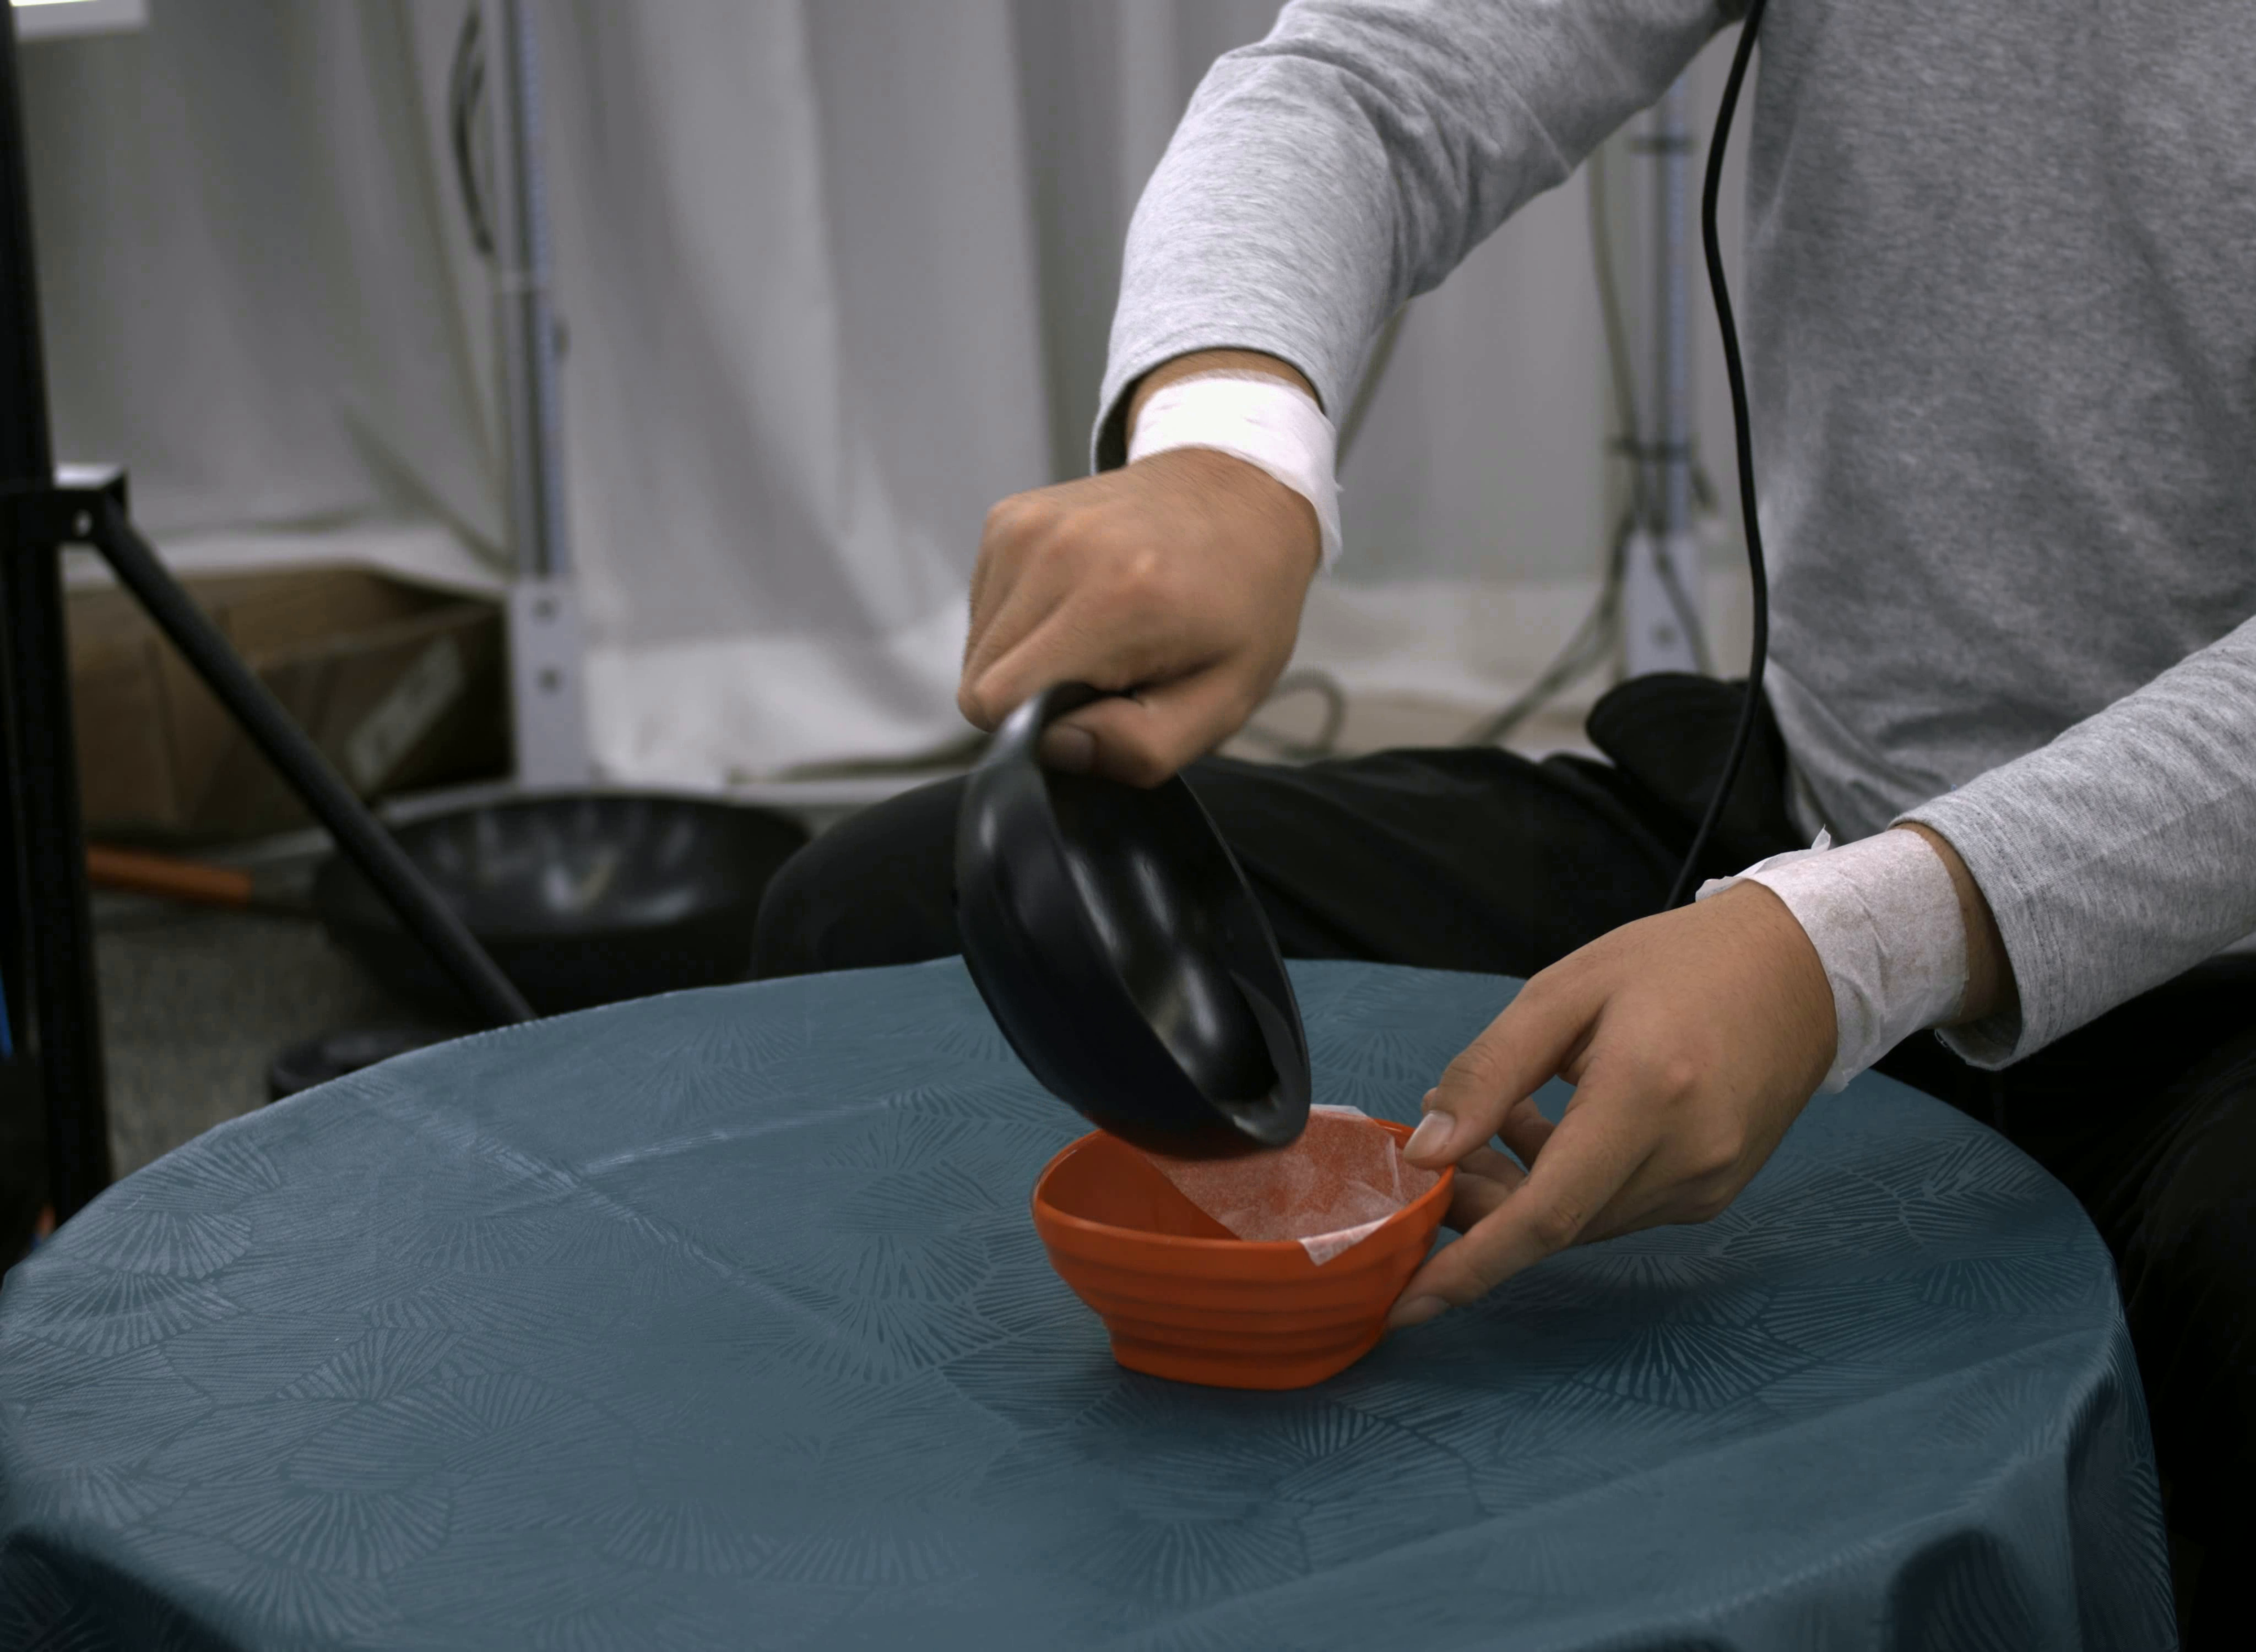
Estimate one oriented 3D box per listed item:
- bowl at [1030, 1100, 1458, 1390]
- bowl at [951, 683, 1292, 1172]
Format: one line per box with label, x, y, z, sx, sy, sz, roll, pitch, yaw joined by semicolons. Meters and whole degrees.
bowl;0.033;0.115;1.433;0.118;0.051;0.119;-4;16;0
bowl;-0.009;0.035;1.416;0.050;0.139;0.140;-27;11;12
